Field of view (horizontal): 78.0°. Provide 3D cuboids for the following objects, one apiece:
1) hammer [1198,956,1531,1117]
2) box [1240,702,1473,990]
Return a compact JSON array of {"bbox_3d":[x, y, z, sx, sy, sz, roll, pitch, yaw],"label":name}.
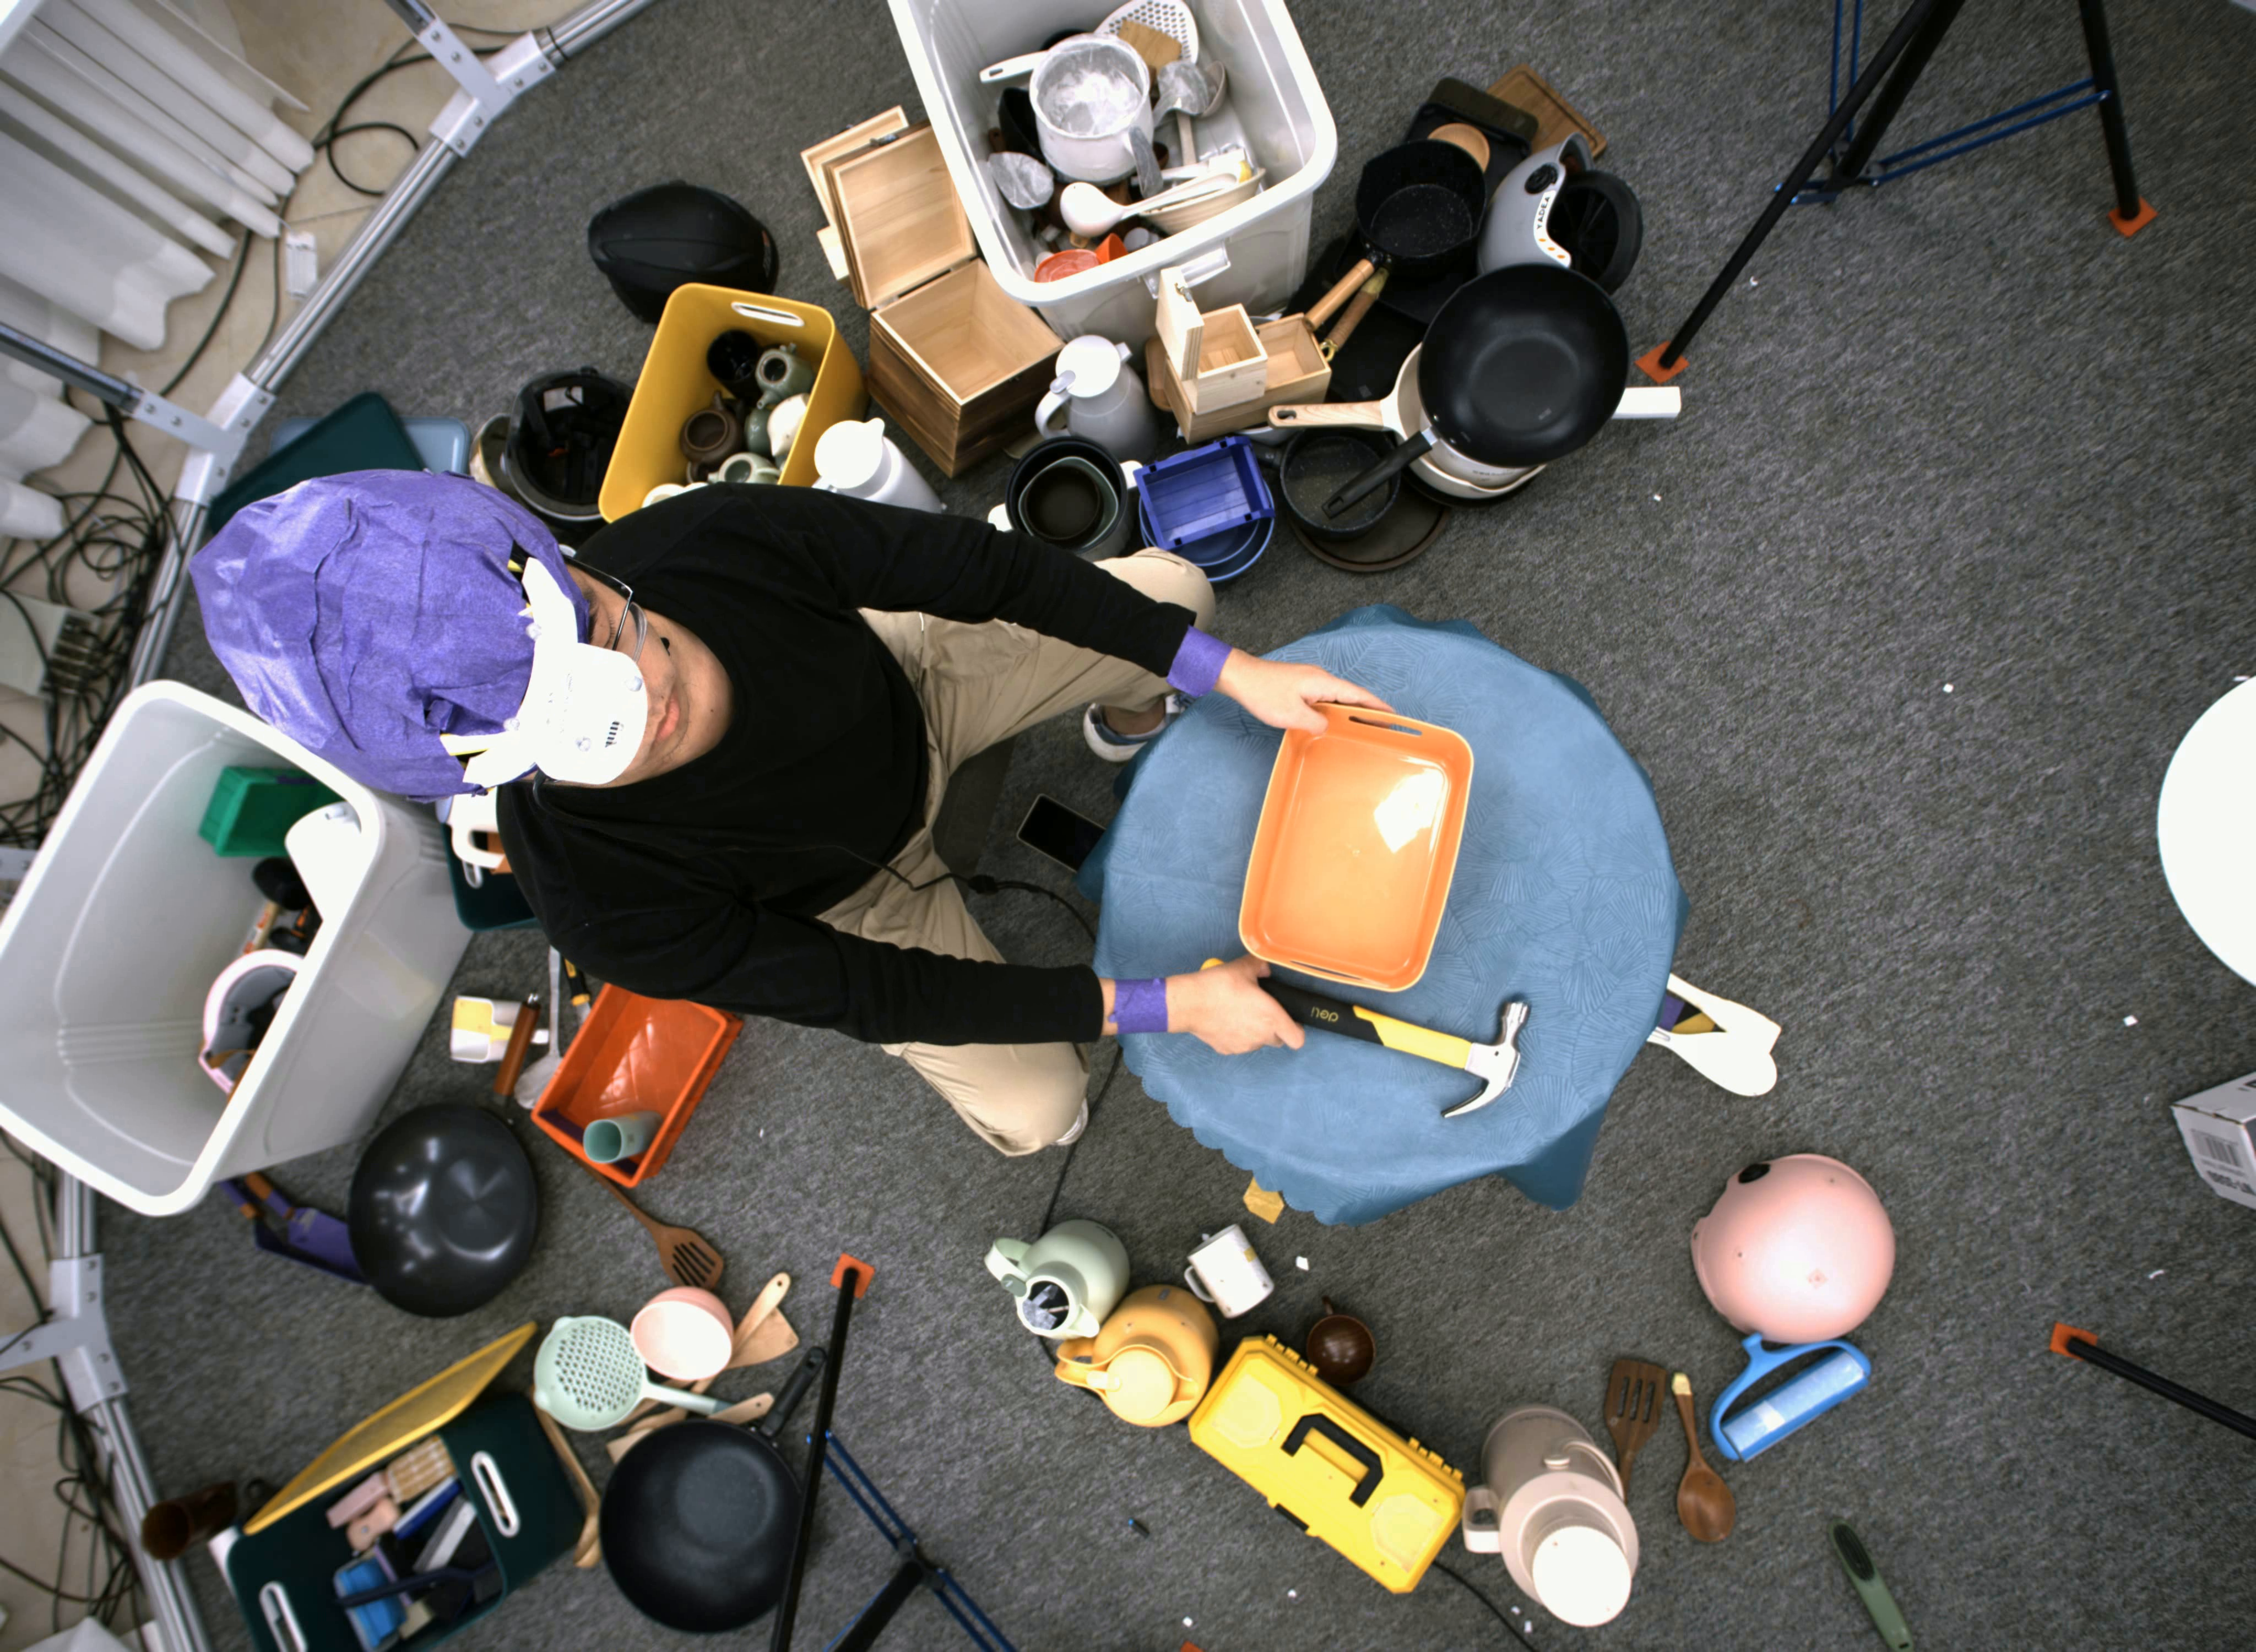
[{"bbox_3d":[0.237,0.201,1.440,0.339,0.032,0.131,17,90,9],"label":"hammer"},{"bbox_3d":[0.234,0.022,1.418,0.200,0.102,0.272,13,89,12],"label":"box"}]
